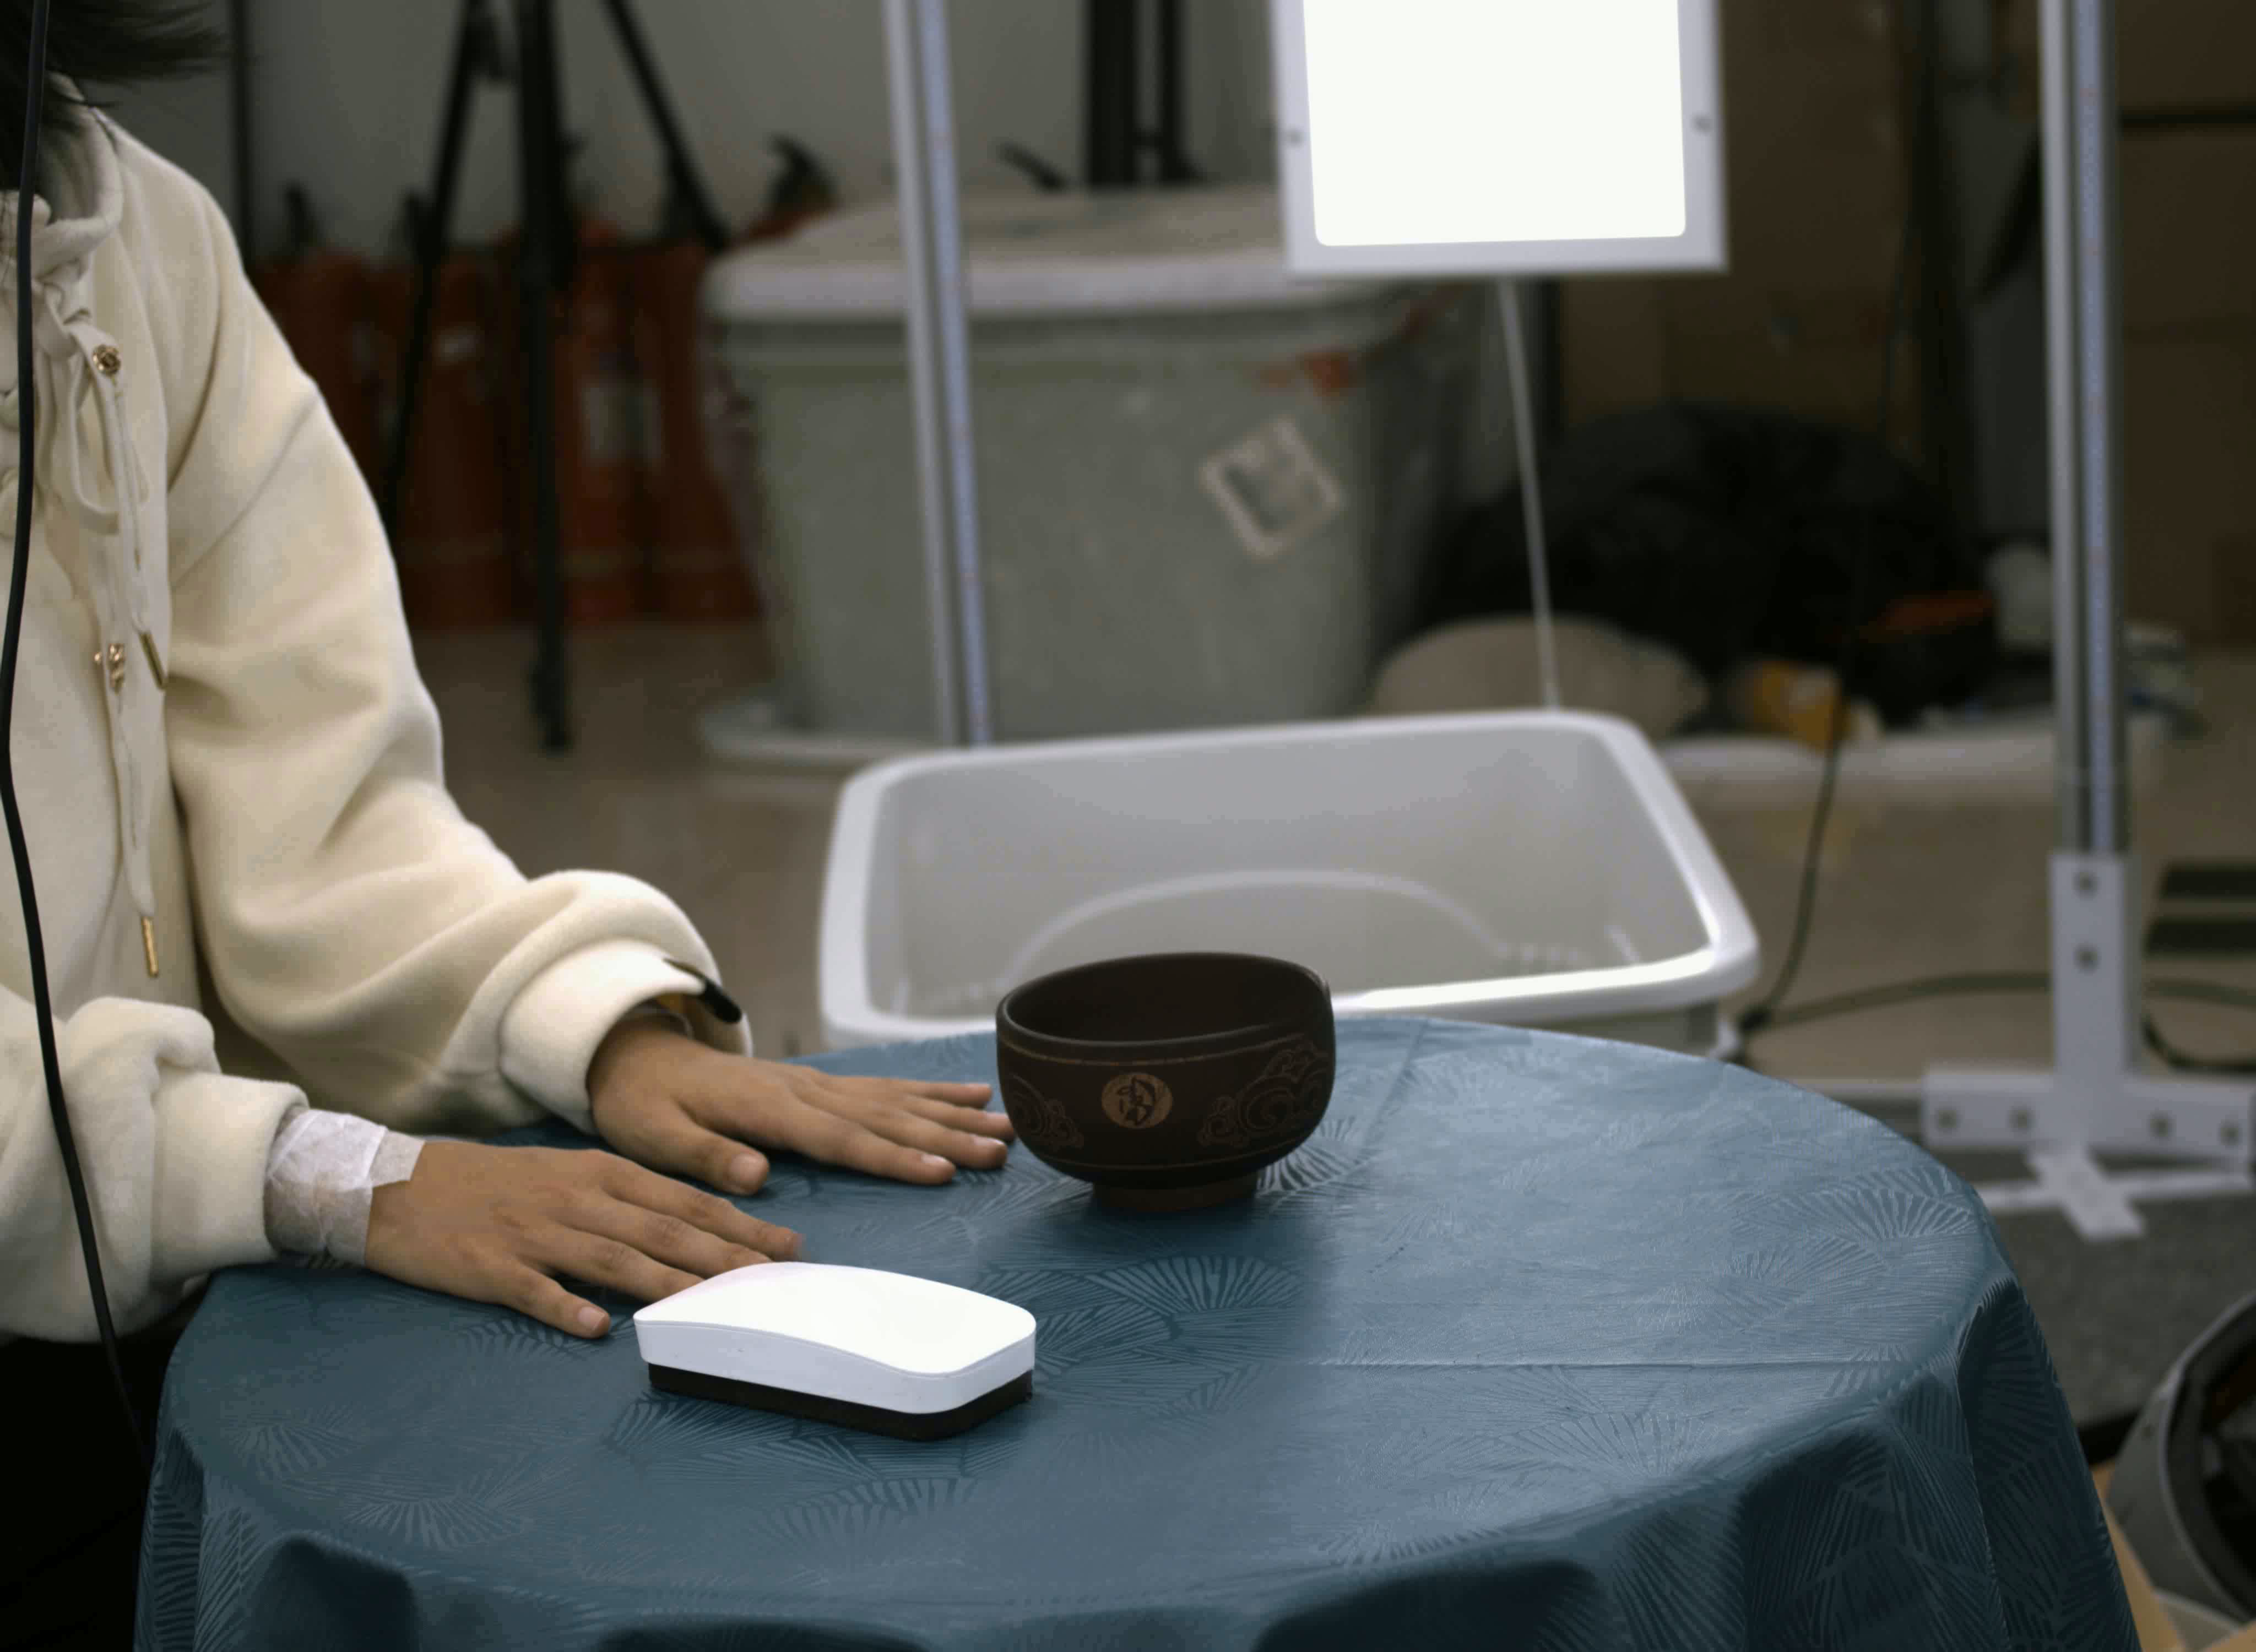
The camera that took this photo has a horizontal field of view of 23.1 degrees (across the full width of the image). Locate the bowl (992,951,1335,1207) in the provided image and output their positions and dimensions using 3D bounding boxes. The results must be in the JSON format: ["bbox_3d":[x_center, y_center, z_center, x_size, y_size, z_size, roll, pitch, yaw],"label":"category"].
[{"bbox_3d":[0.014,0.090,1.891,0.118,0.070,0.118,-5,12,0],"label":"bowl"}]

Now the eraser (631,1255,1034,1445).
[{"bbox_3d":[-0.092,0.162,1.725,0.134,0.034,0.062,7,18,39],"label":"eraser"}]
